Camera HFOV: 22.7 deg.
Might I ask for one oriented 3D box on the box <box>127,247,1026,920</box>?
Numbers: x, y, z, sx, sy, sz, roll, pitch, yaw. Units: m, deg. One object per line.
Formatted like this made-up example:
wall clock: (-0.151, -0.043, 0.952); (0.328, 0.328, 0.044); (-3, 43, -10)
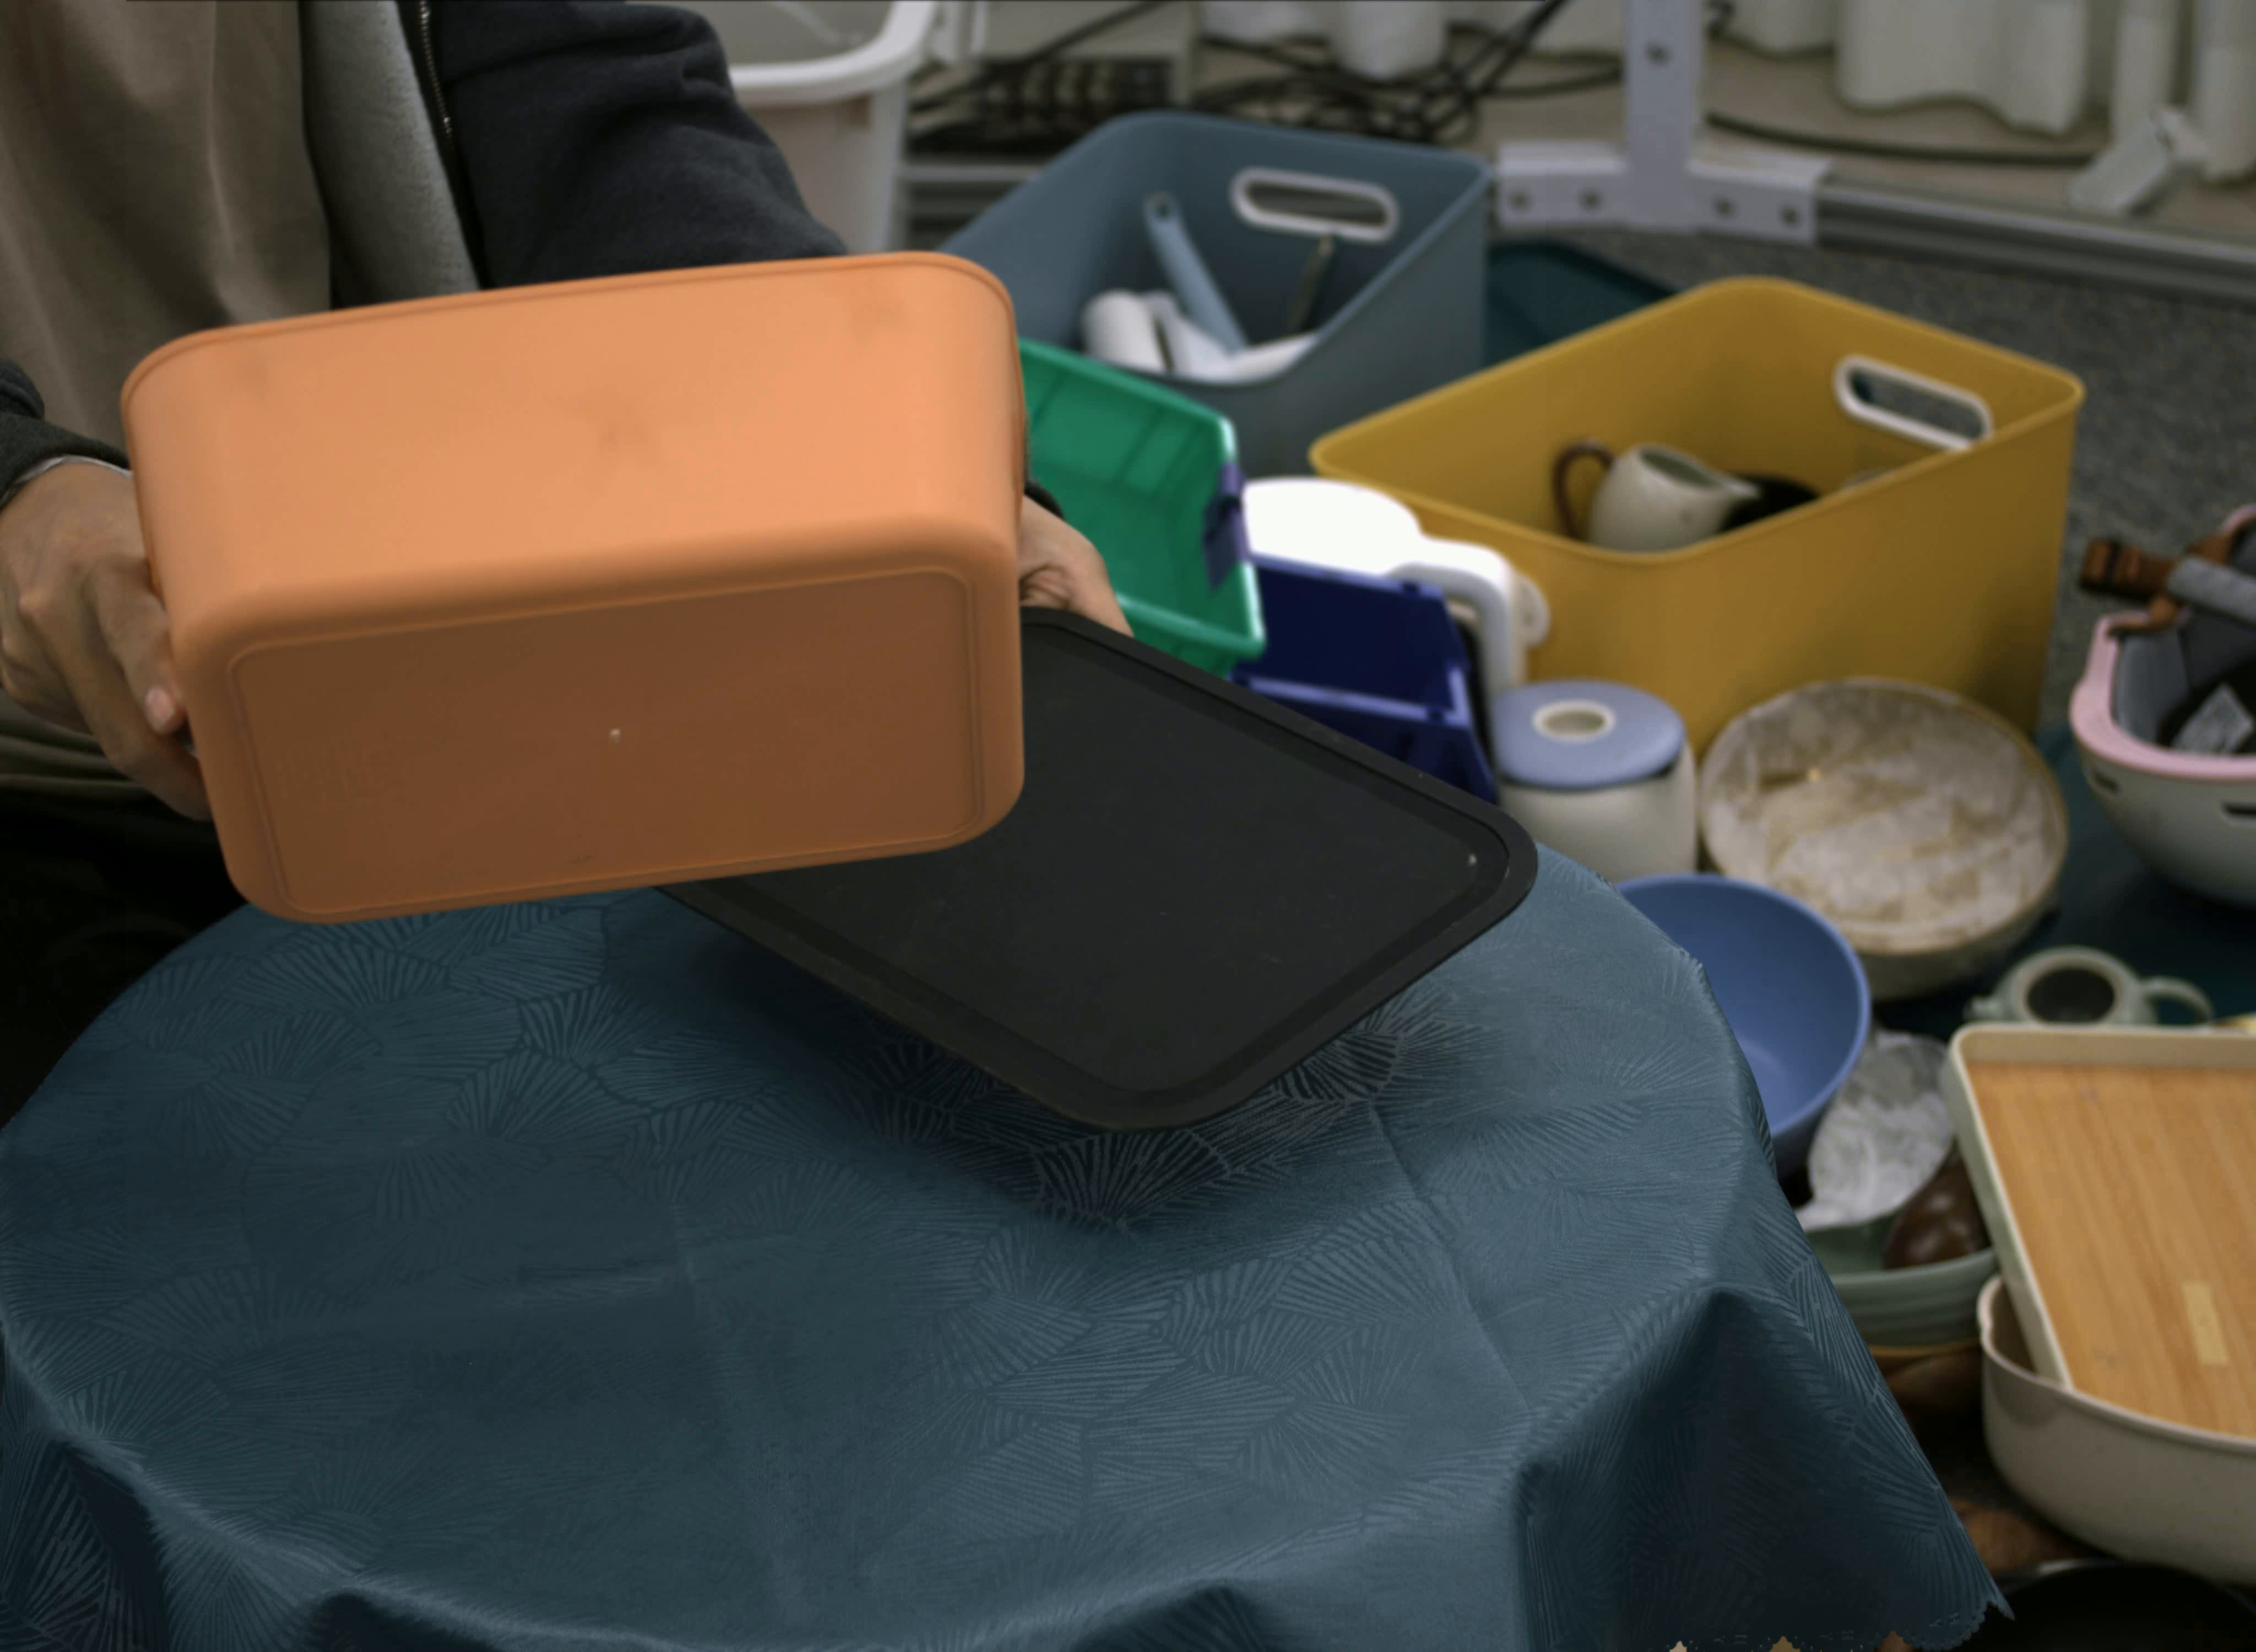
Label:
box: (-0.159, -0.066, 1.707); (0.272, 0.196, 0.104); (-7, 57, -5)

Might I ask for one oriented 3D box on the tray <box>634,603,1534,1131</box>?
tray: (-0.029, 0.005, 1.961); (0.214, 0.009, 0.325); (-33, 41, -31)
